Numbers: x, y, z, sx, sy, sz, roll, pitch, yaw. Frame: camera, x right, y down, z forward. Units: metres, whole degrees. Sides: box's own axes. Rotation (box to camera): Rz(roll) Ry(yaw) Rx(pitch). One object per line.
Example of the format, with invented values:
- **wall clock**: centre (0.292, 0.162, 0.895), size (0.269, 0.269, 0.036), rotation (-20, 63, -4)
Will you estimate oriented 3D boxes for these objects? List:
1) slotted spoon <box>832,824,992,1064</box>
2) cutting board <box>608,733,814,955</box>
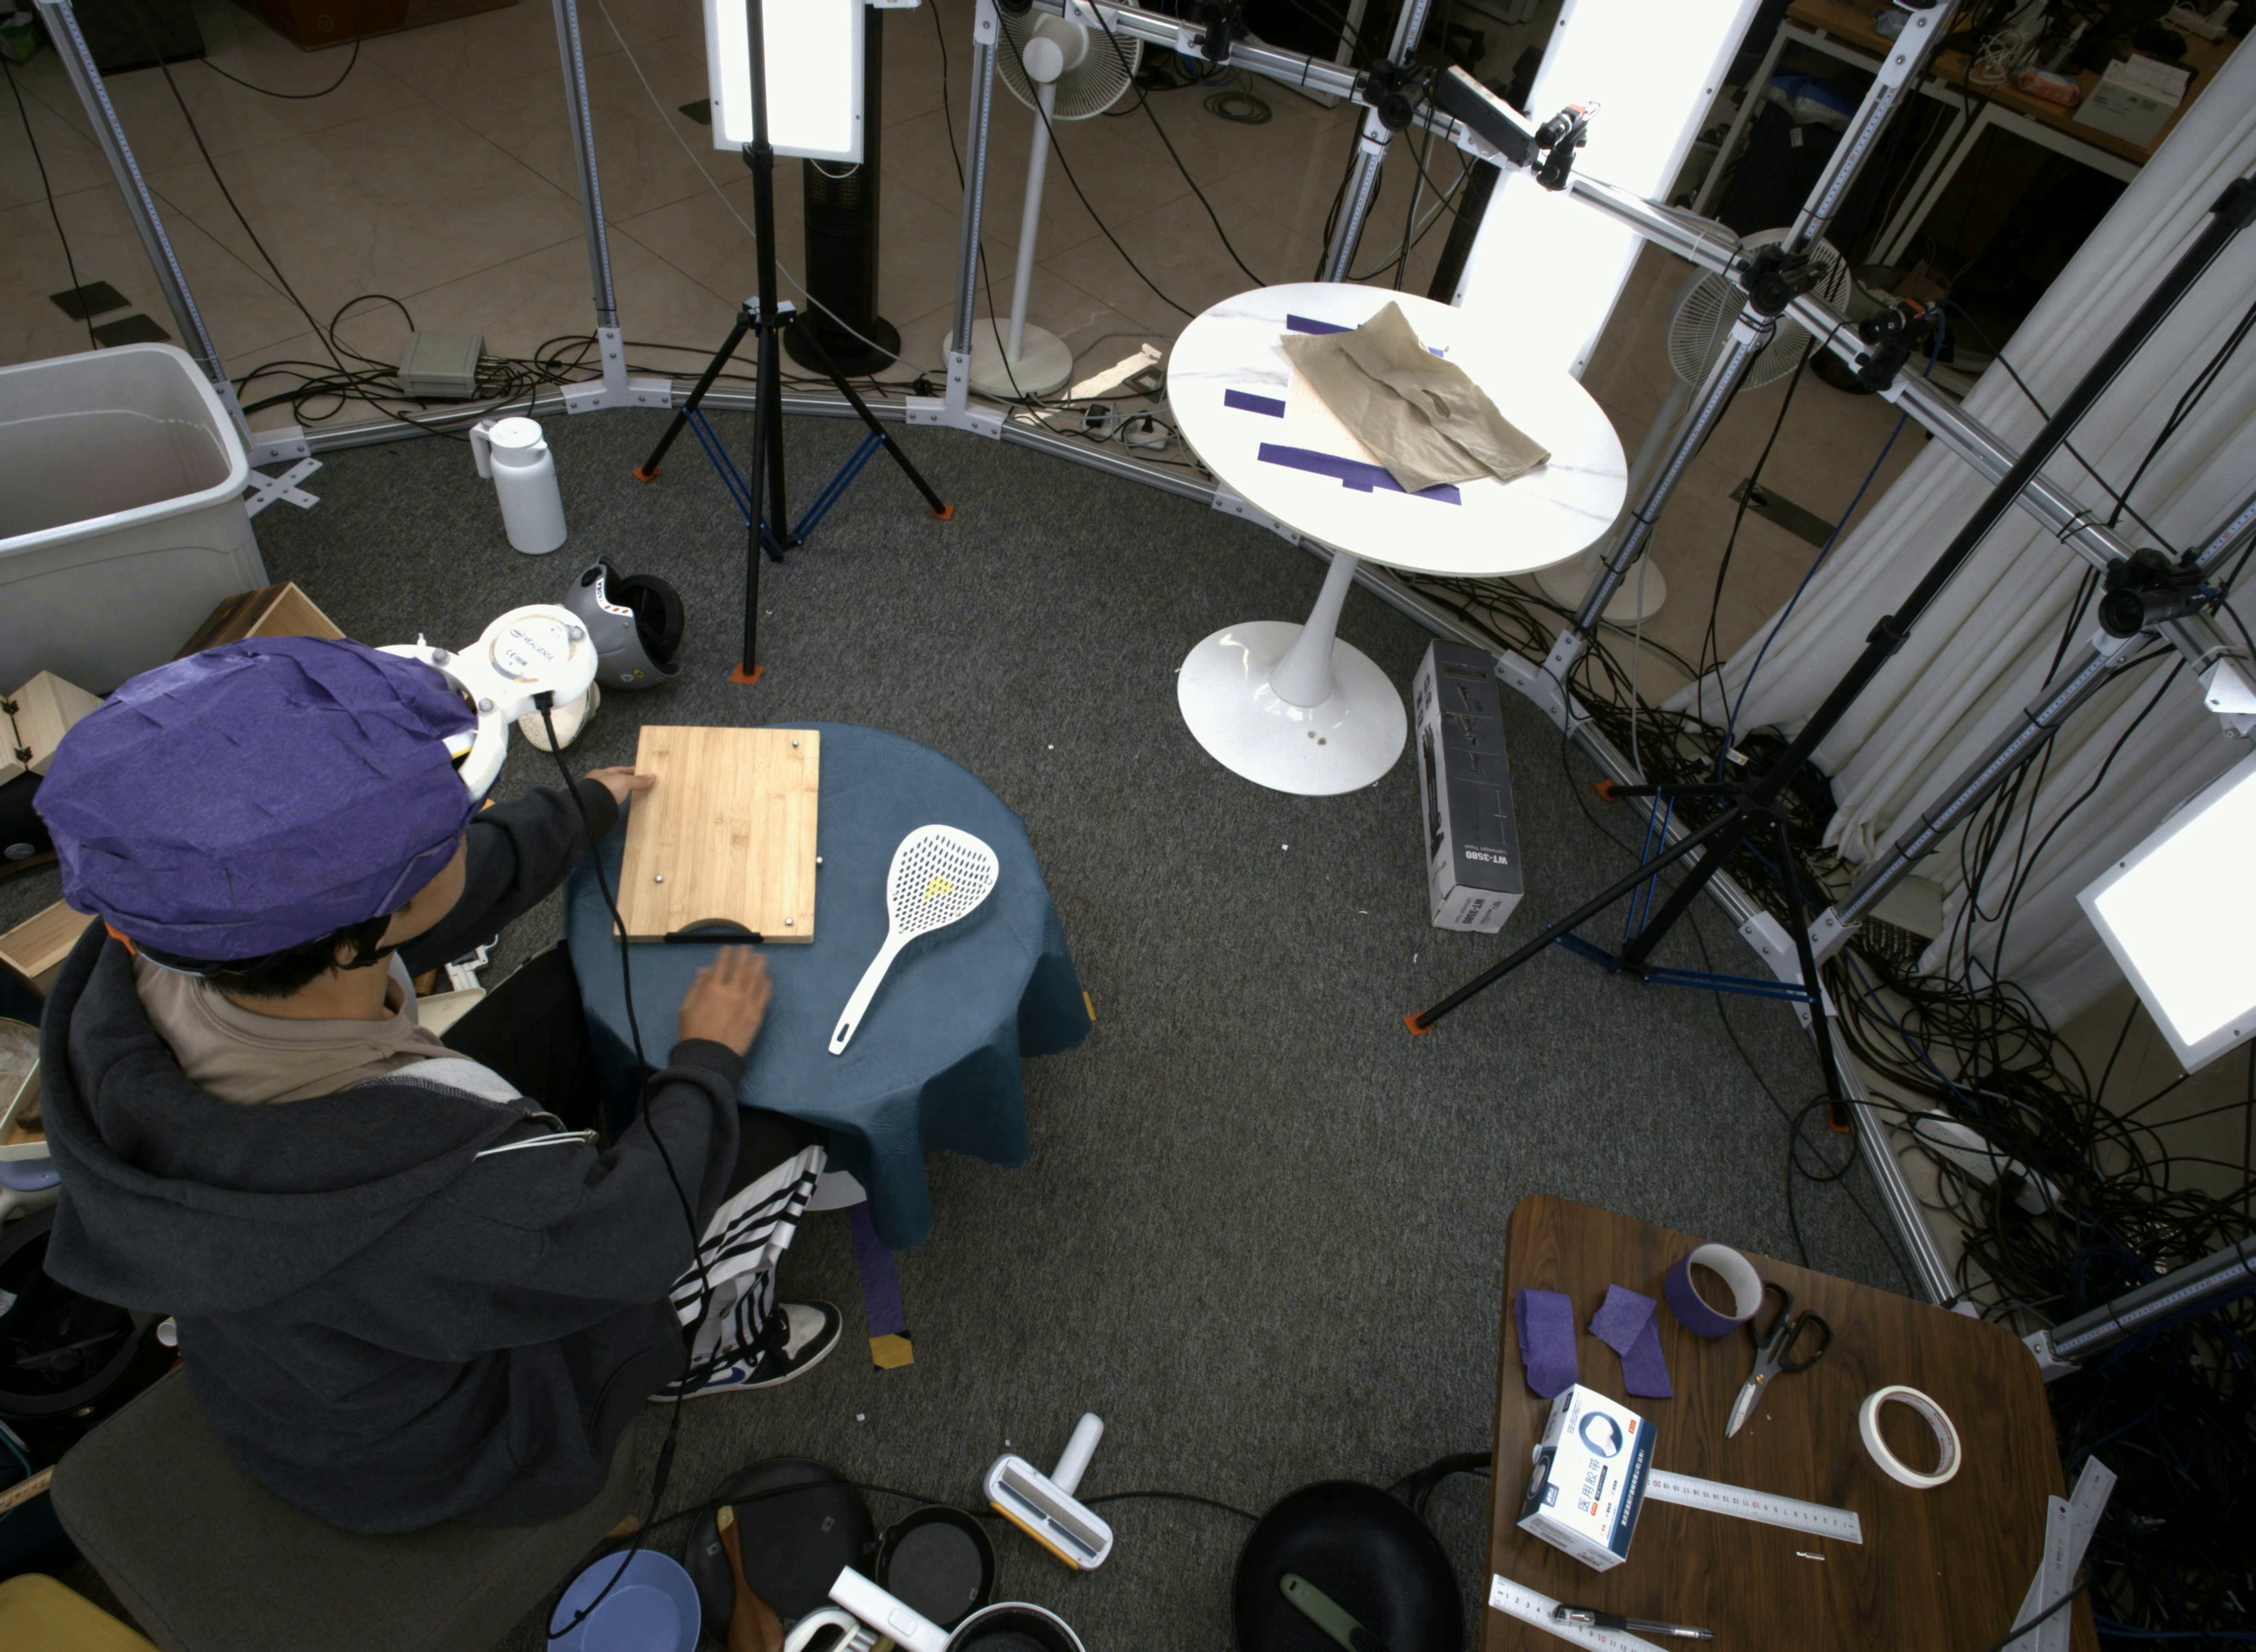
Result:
- **slotted spoon**: centre (-0.289, 0.141, 1.631), size (0.135, 0.051, 0.345), rotation (25, 52, 2)
- **cutting board**: centre (-0.535, 0.014, 1.679), size (0.251, 0.024, 0.341), rotation (0, 54, -14)
